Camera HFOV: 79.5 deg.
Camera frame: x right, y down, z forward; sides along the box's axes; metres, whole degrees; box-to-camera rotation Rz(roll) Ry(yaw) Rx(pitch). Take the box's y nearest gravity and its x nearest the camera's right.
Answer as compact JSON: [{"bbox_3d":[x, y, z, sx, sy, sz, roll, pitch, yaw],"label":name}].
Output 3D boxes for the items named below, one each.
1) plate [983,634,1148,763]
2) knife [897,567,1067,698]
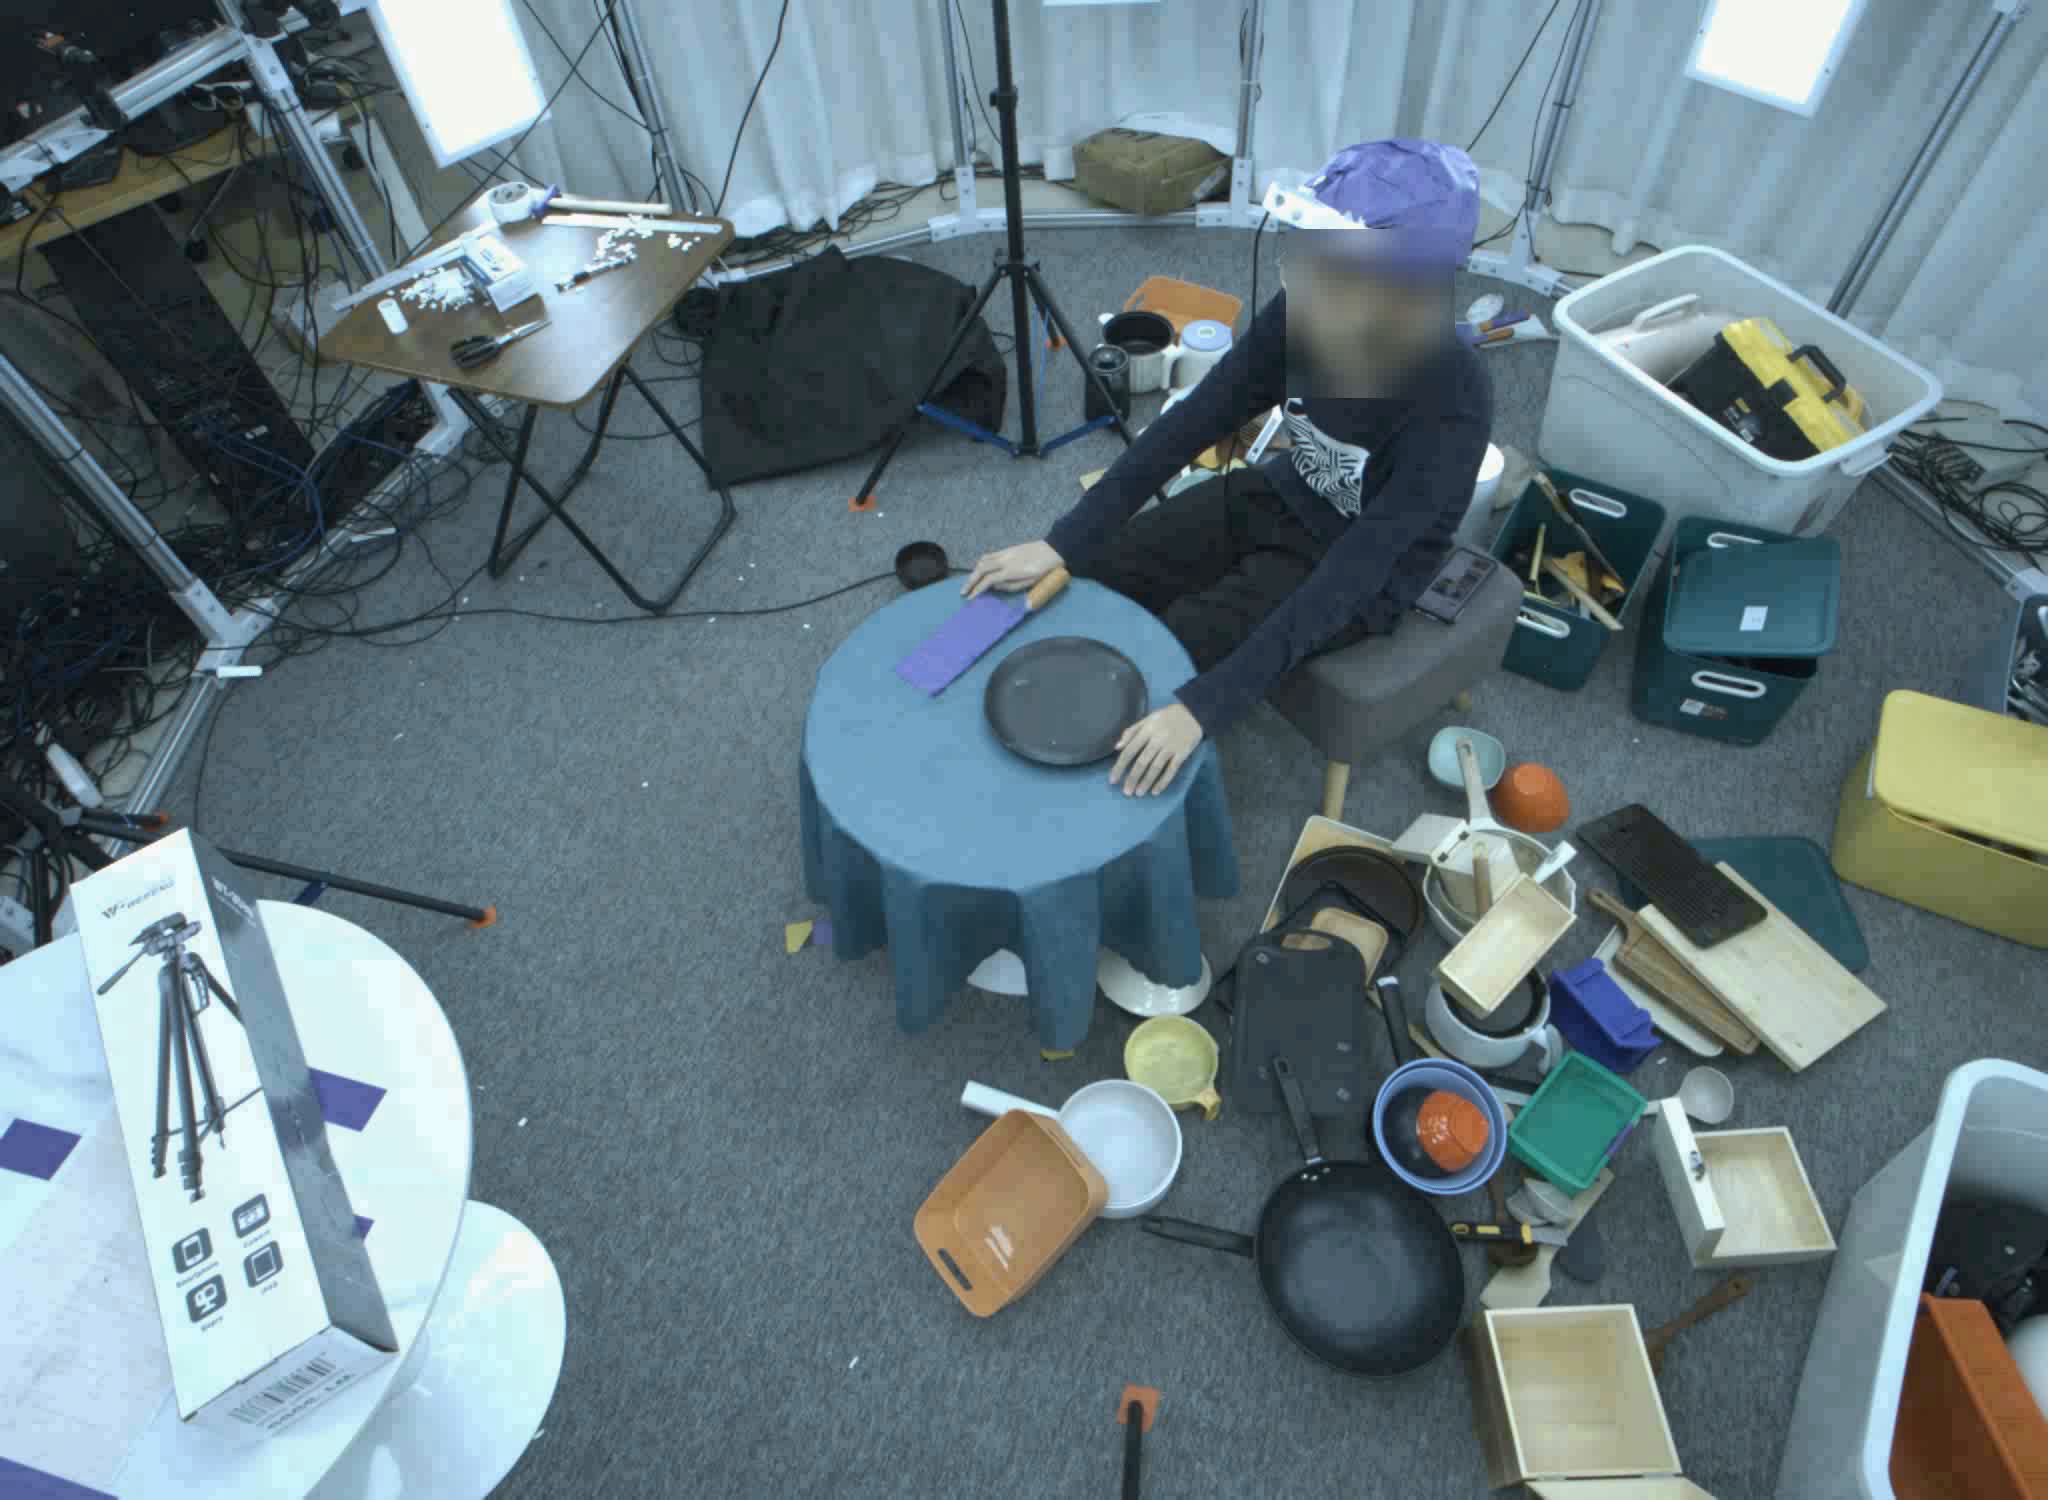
[{"bbox_3d":[0.061,-0.075,1.833,0.244,0.023,0.242,0,55,1],"label":"plate"},{"bbox_3d":[-0.067,-0.202,1.925,0.102,0.032,0.317,36,63,23],"label":"knife"}]
